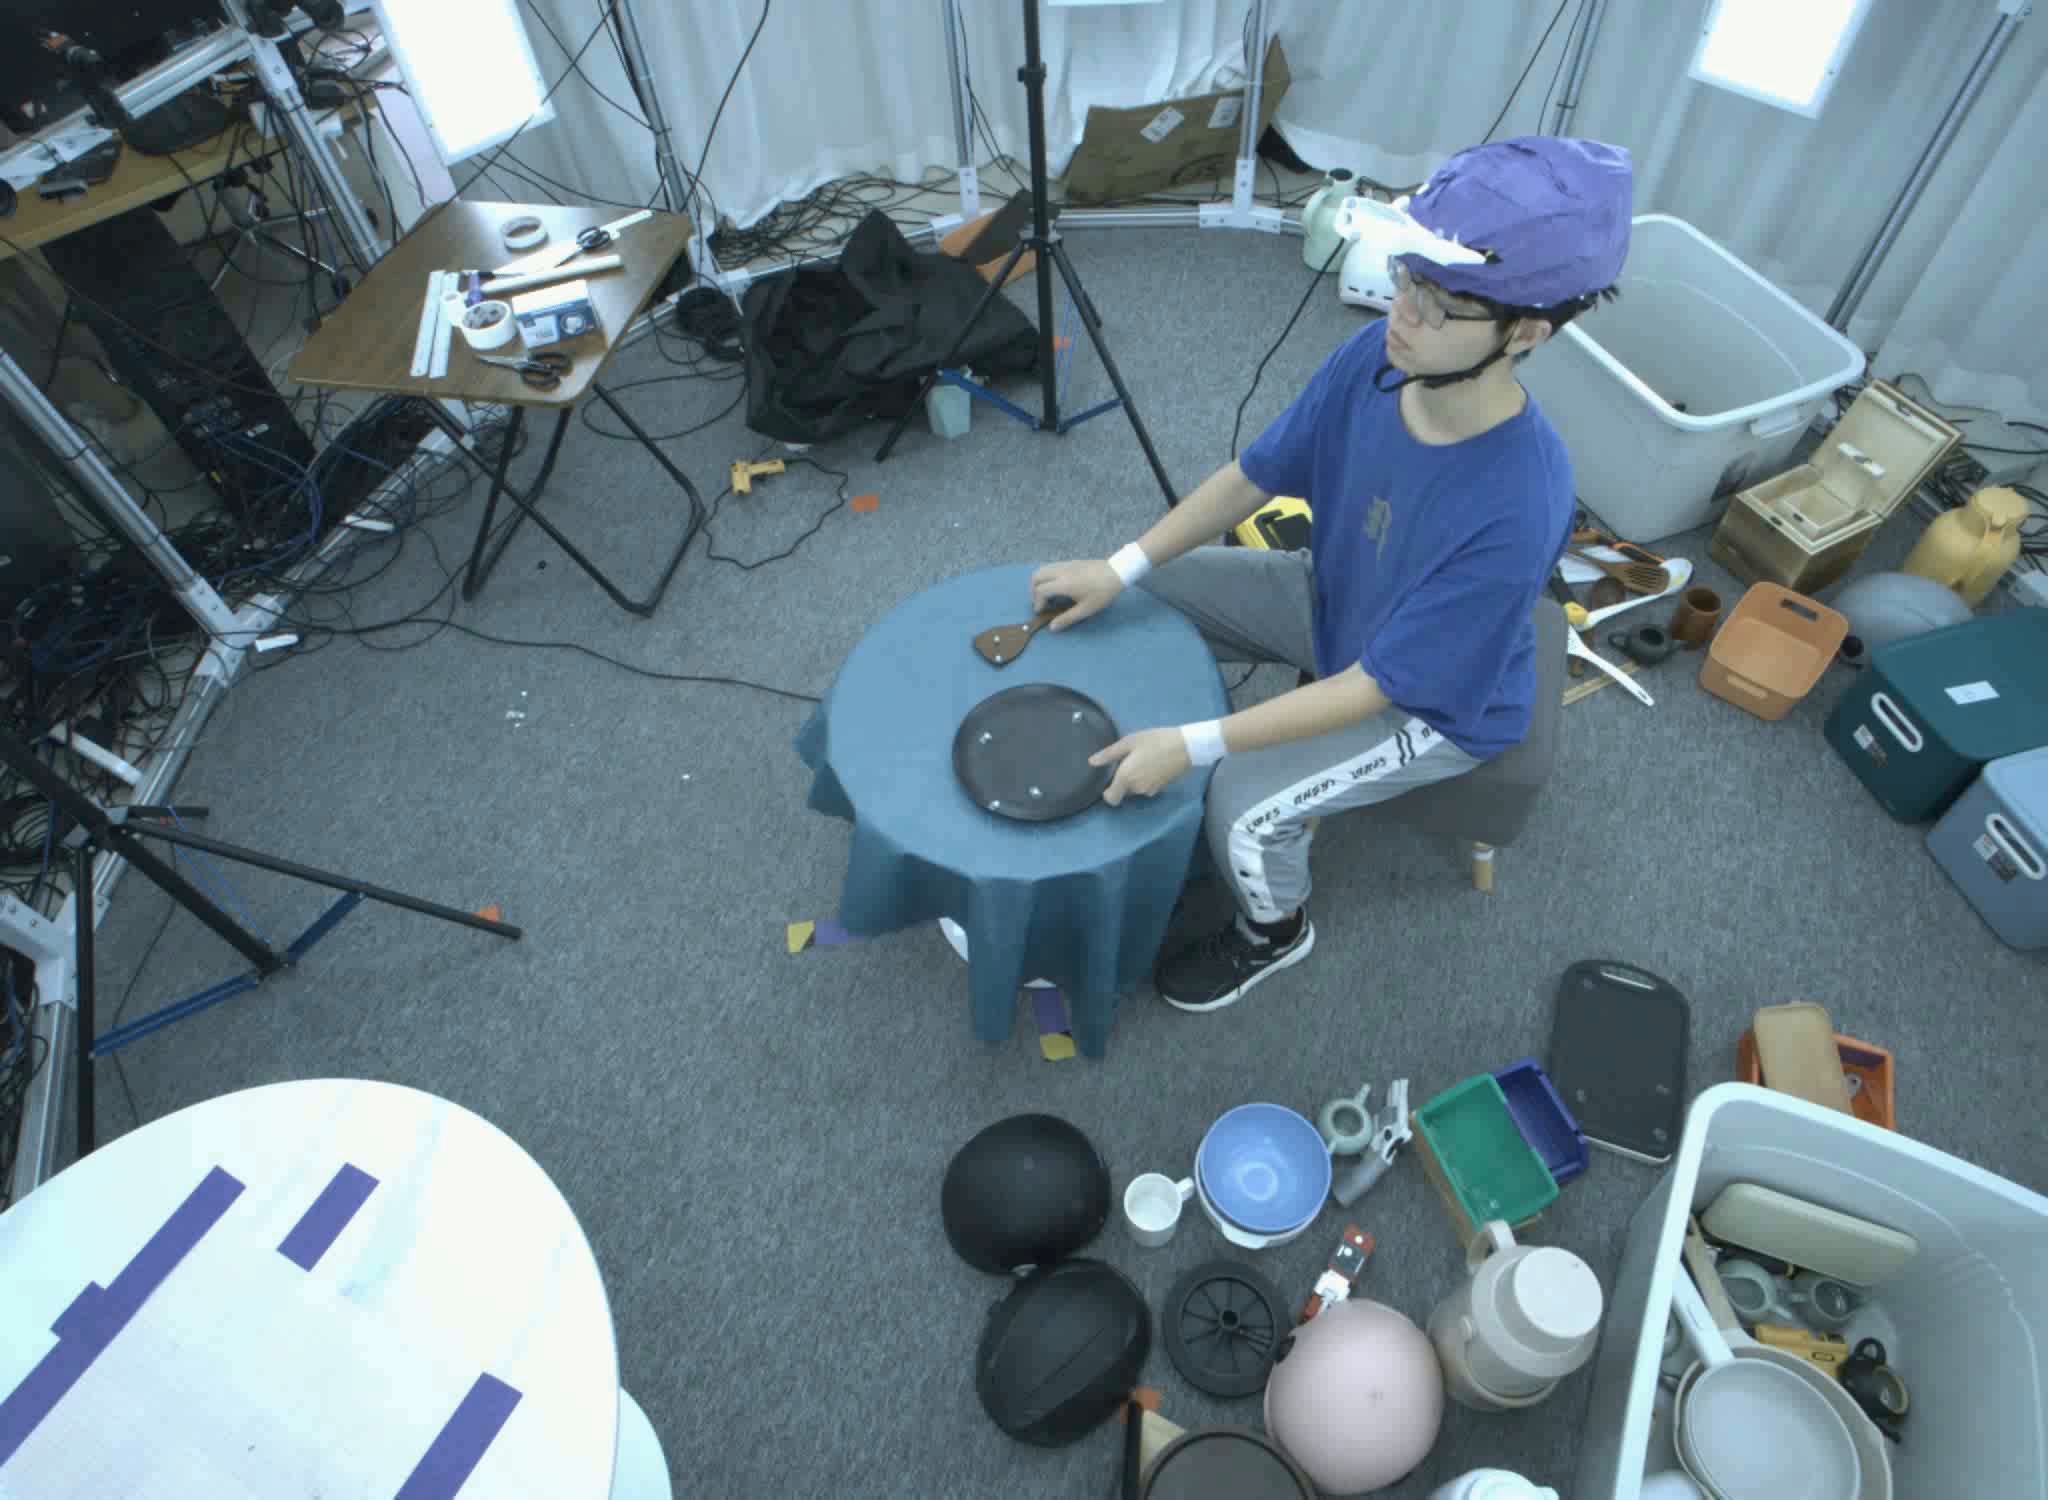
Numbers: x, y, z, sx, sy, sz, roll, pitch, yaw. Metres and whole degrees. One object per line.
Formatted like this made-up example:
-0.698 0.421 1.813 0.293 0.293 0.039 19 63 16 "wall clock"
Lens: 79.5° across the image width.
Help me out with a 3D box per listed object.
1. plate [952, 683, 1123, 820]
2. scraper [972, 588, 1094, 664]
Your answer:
0.019 0.004 1.760 0.244 0.024 0.242 -1 54 2 "plate"
0.020 -0.199 1.914 0.213 0.011 0.074 -31 59 -20 "scraper"
